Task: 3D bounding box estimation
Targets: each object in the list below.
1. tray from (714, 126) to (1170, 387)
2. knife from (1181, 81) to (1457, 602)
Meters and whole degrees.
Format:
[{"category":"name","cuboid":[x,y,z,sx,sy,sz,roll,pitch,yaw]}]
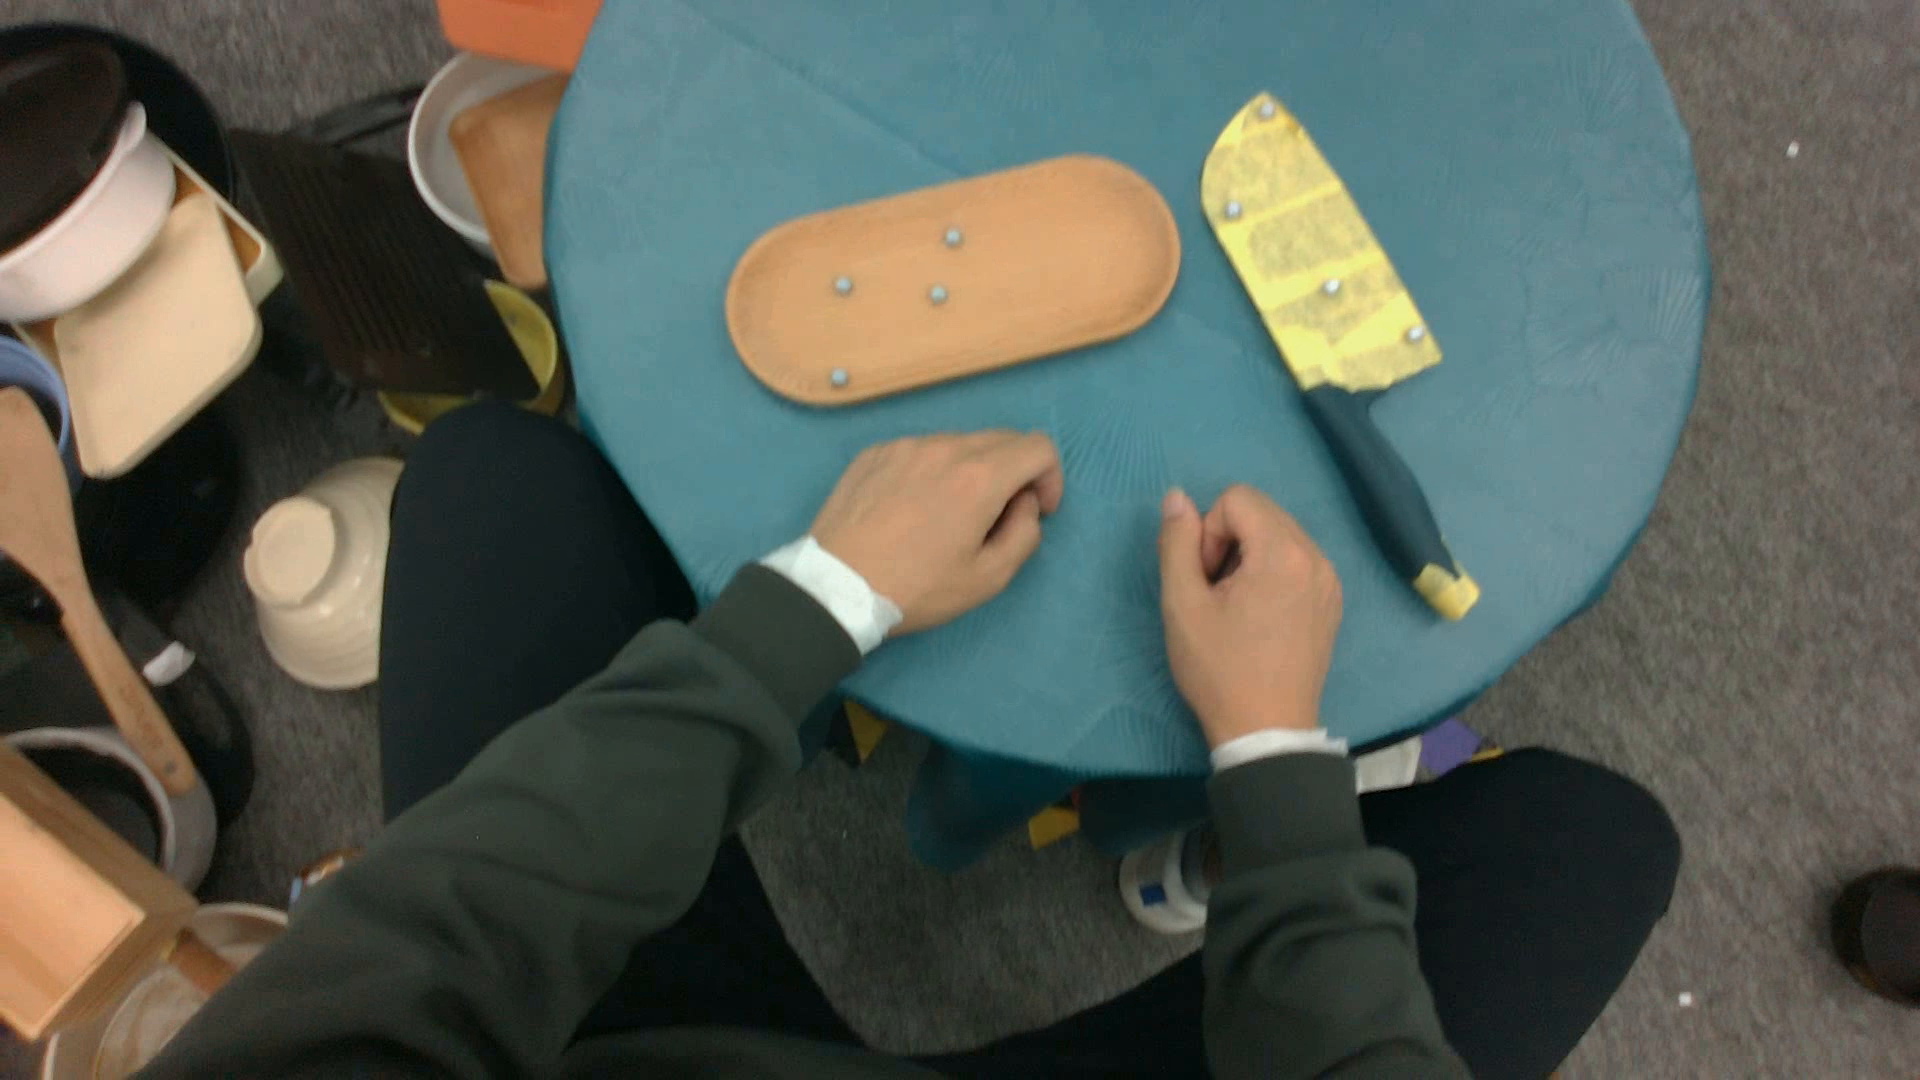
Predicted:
[{"category":"tray","cuboid":[-0.008,-0.142,0.688,0.231,0.020,0.102,-15,82,-8]},{"category":"knife","cuboid":[0.189,-0.107,0.696,0.081,0.027,0.290,-21,81,-5]}]
